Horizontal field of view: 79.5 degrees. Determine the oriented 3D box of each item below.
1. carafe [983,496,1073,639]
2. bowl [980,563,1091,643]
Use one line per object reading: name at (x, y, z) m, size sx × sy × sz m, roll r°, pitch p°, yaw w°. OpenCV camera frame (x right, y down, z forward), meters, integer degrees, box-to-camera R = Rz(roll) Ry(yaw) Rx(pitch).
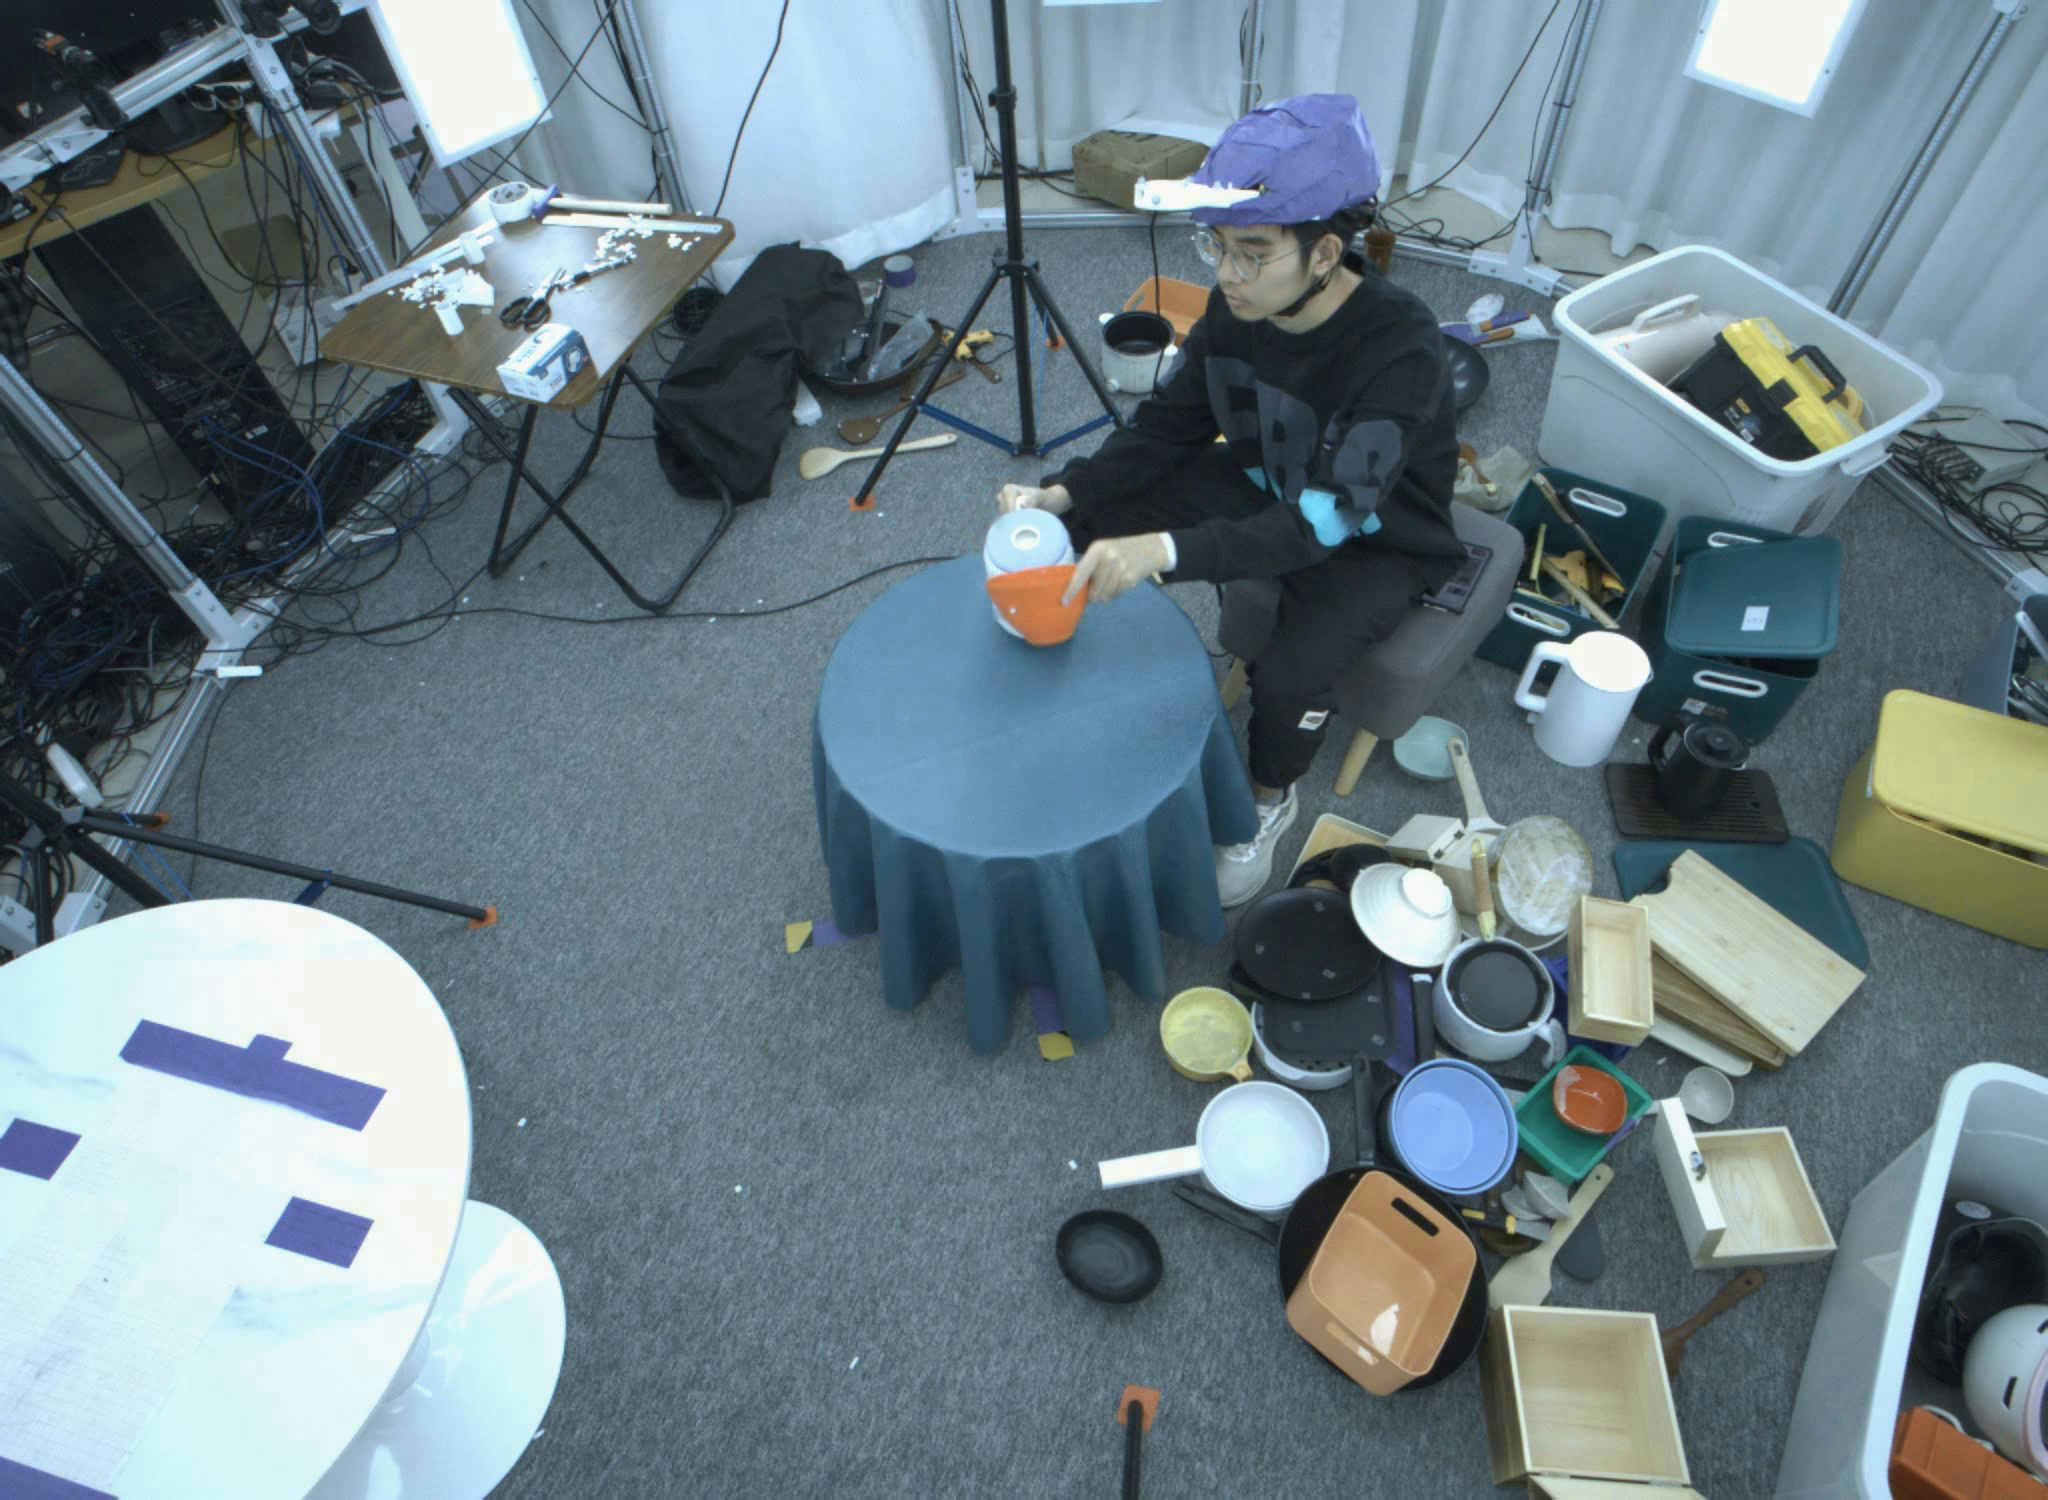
carafe at (0.006, -0.283, 1.844) m, size 0.132 × 0.184 × 0.189 m, roll -8°, pitch 60°, yaw 0°
bowl at (0.021, -0.198, 1.641) m, size 0.147 × 0.106 × 0.147 m, roll -7°, pitch 24°, yaw 4°
